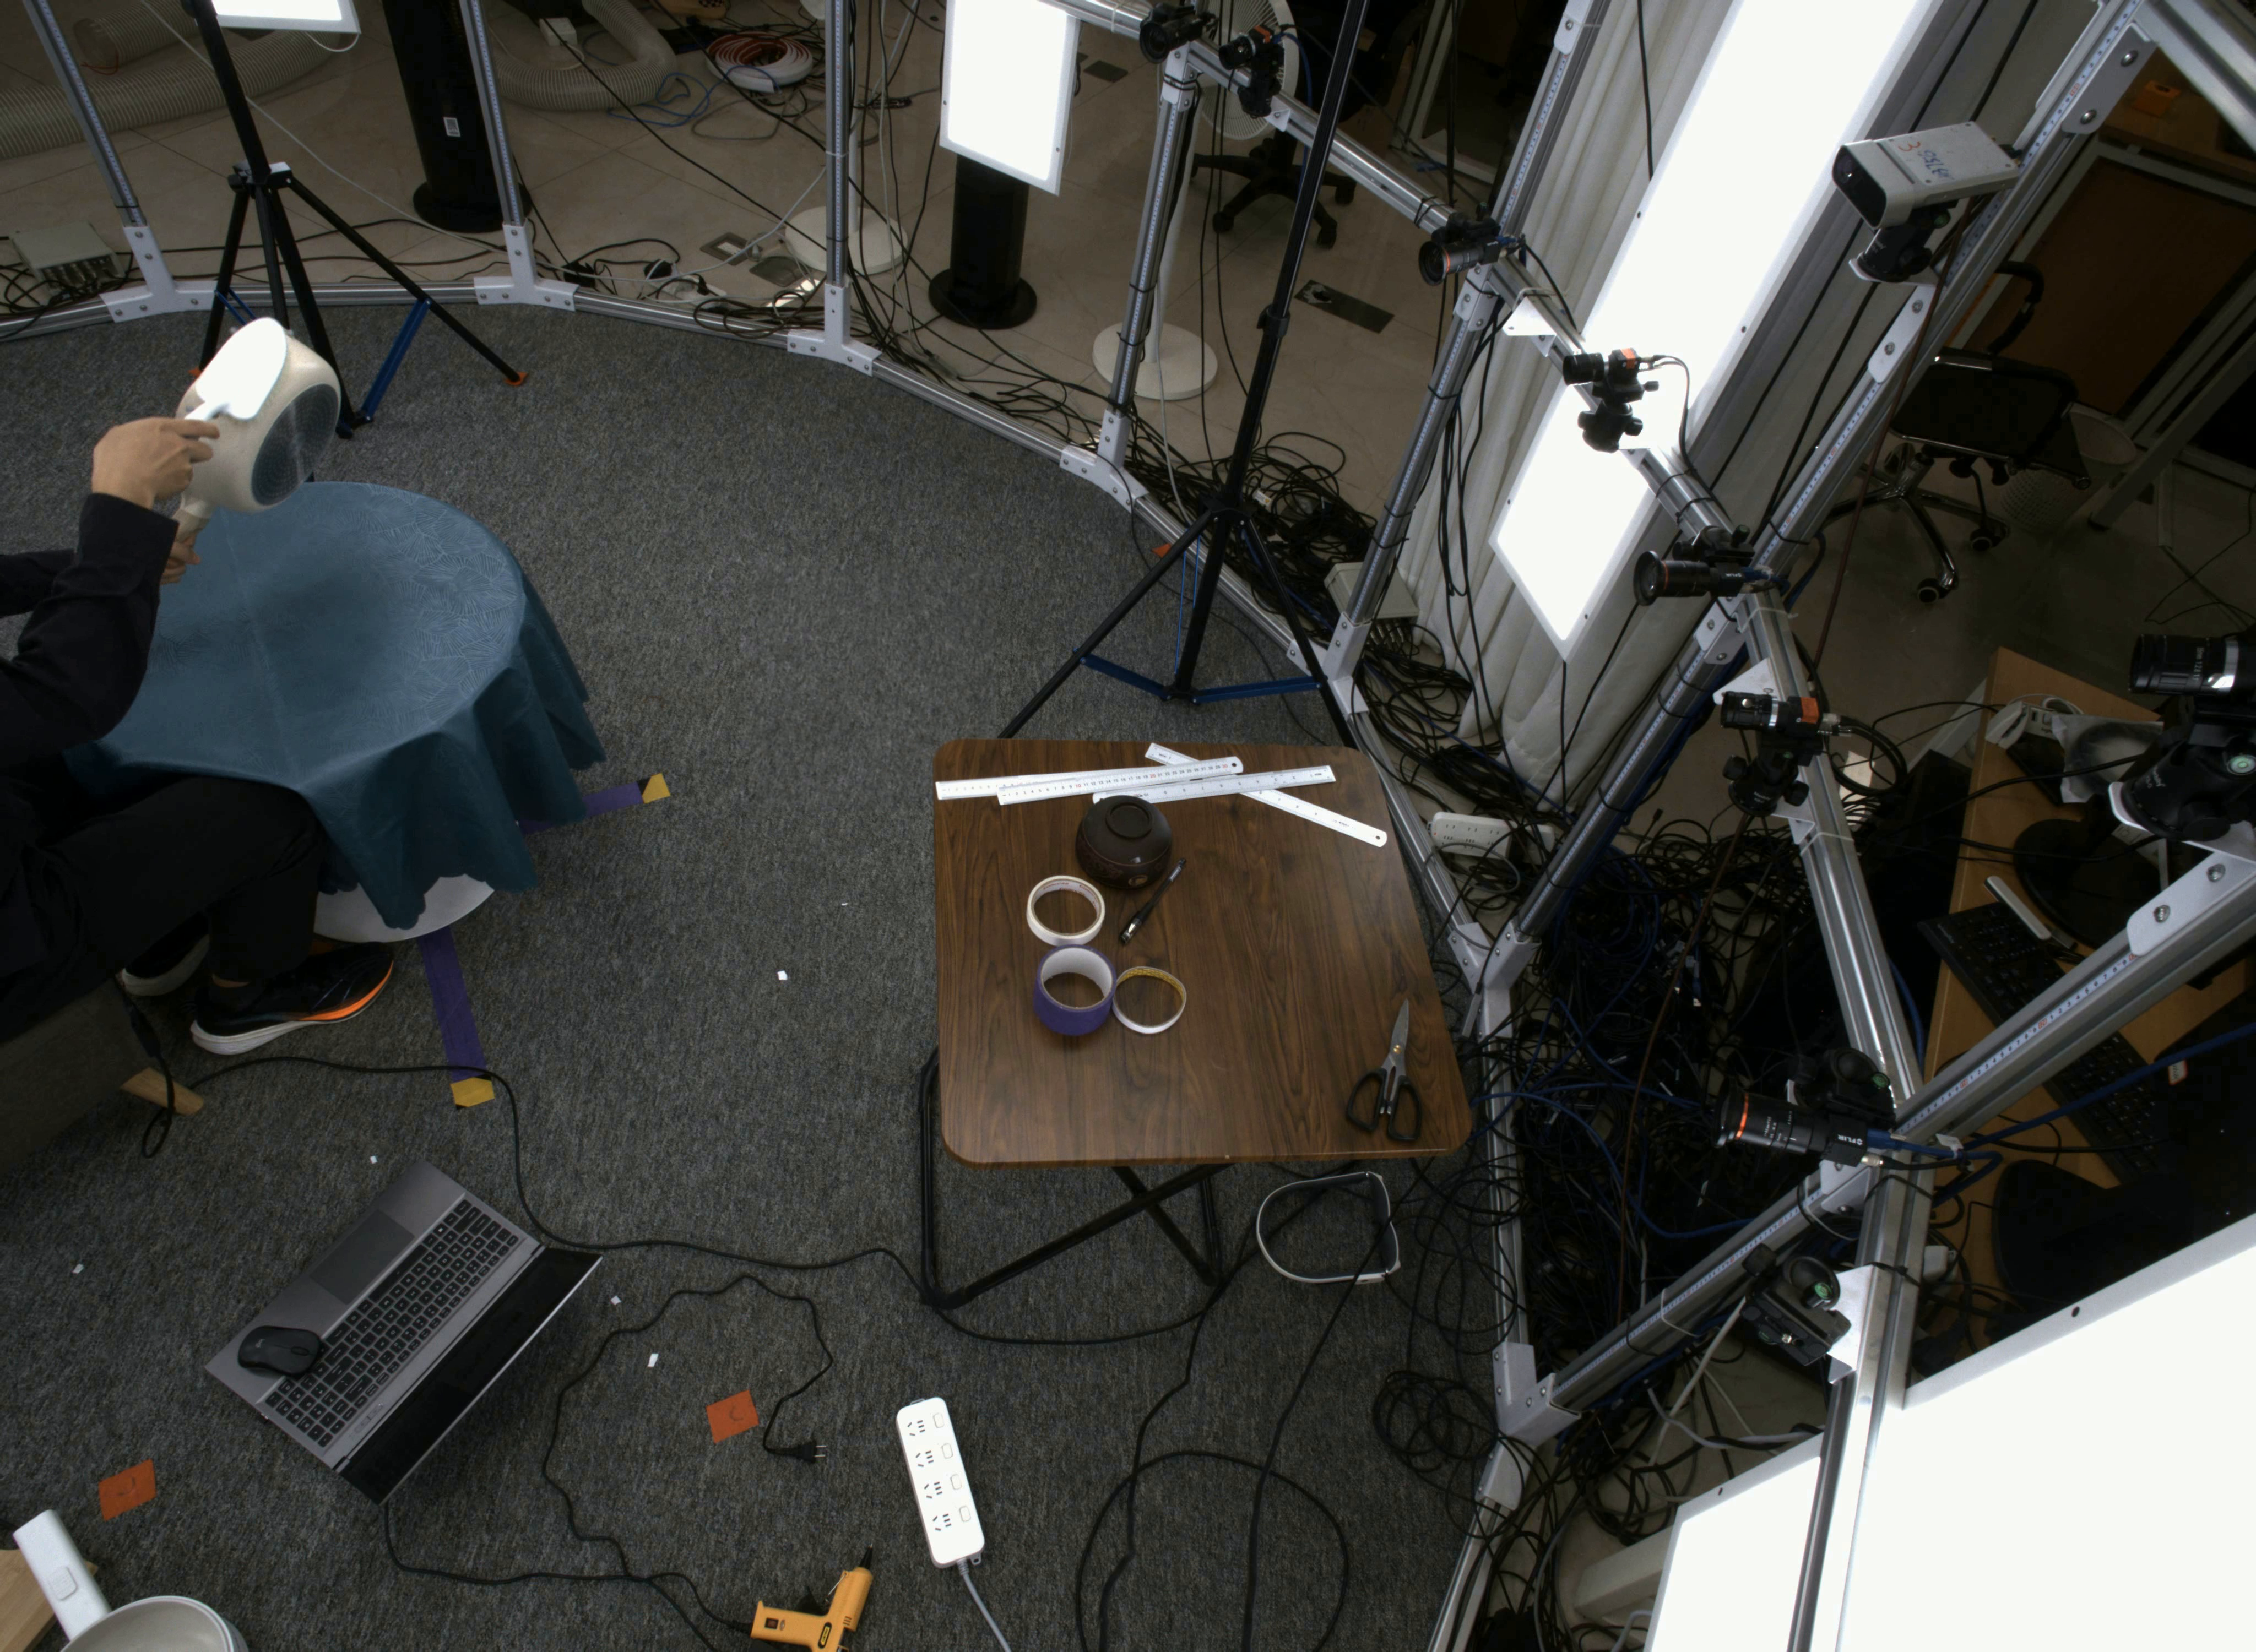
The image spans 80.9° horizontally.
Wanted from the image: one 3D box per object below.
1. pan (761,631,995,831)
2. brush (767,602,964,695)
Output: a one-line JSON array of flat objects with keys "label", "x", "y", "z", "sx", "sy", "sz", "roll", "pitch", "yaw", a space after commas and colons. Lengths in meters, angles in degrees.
[{"label": "pan", "x": -0.386, "y": -0.121, "z": 2.021, "sx": 0.099, "sy": 0.434, "sz": 0.271, "roll": 46, "pitch": -2, "yaw": 27}, {"label": "brush", "x": -0.373, "y": -0.235, "z": 1.852, "sx": 0.327, "sy": 0.087, "sz": 0.080, "roll": -30, "pitch": 27, "yaw": -33}]
